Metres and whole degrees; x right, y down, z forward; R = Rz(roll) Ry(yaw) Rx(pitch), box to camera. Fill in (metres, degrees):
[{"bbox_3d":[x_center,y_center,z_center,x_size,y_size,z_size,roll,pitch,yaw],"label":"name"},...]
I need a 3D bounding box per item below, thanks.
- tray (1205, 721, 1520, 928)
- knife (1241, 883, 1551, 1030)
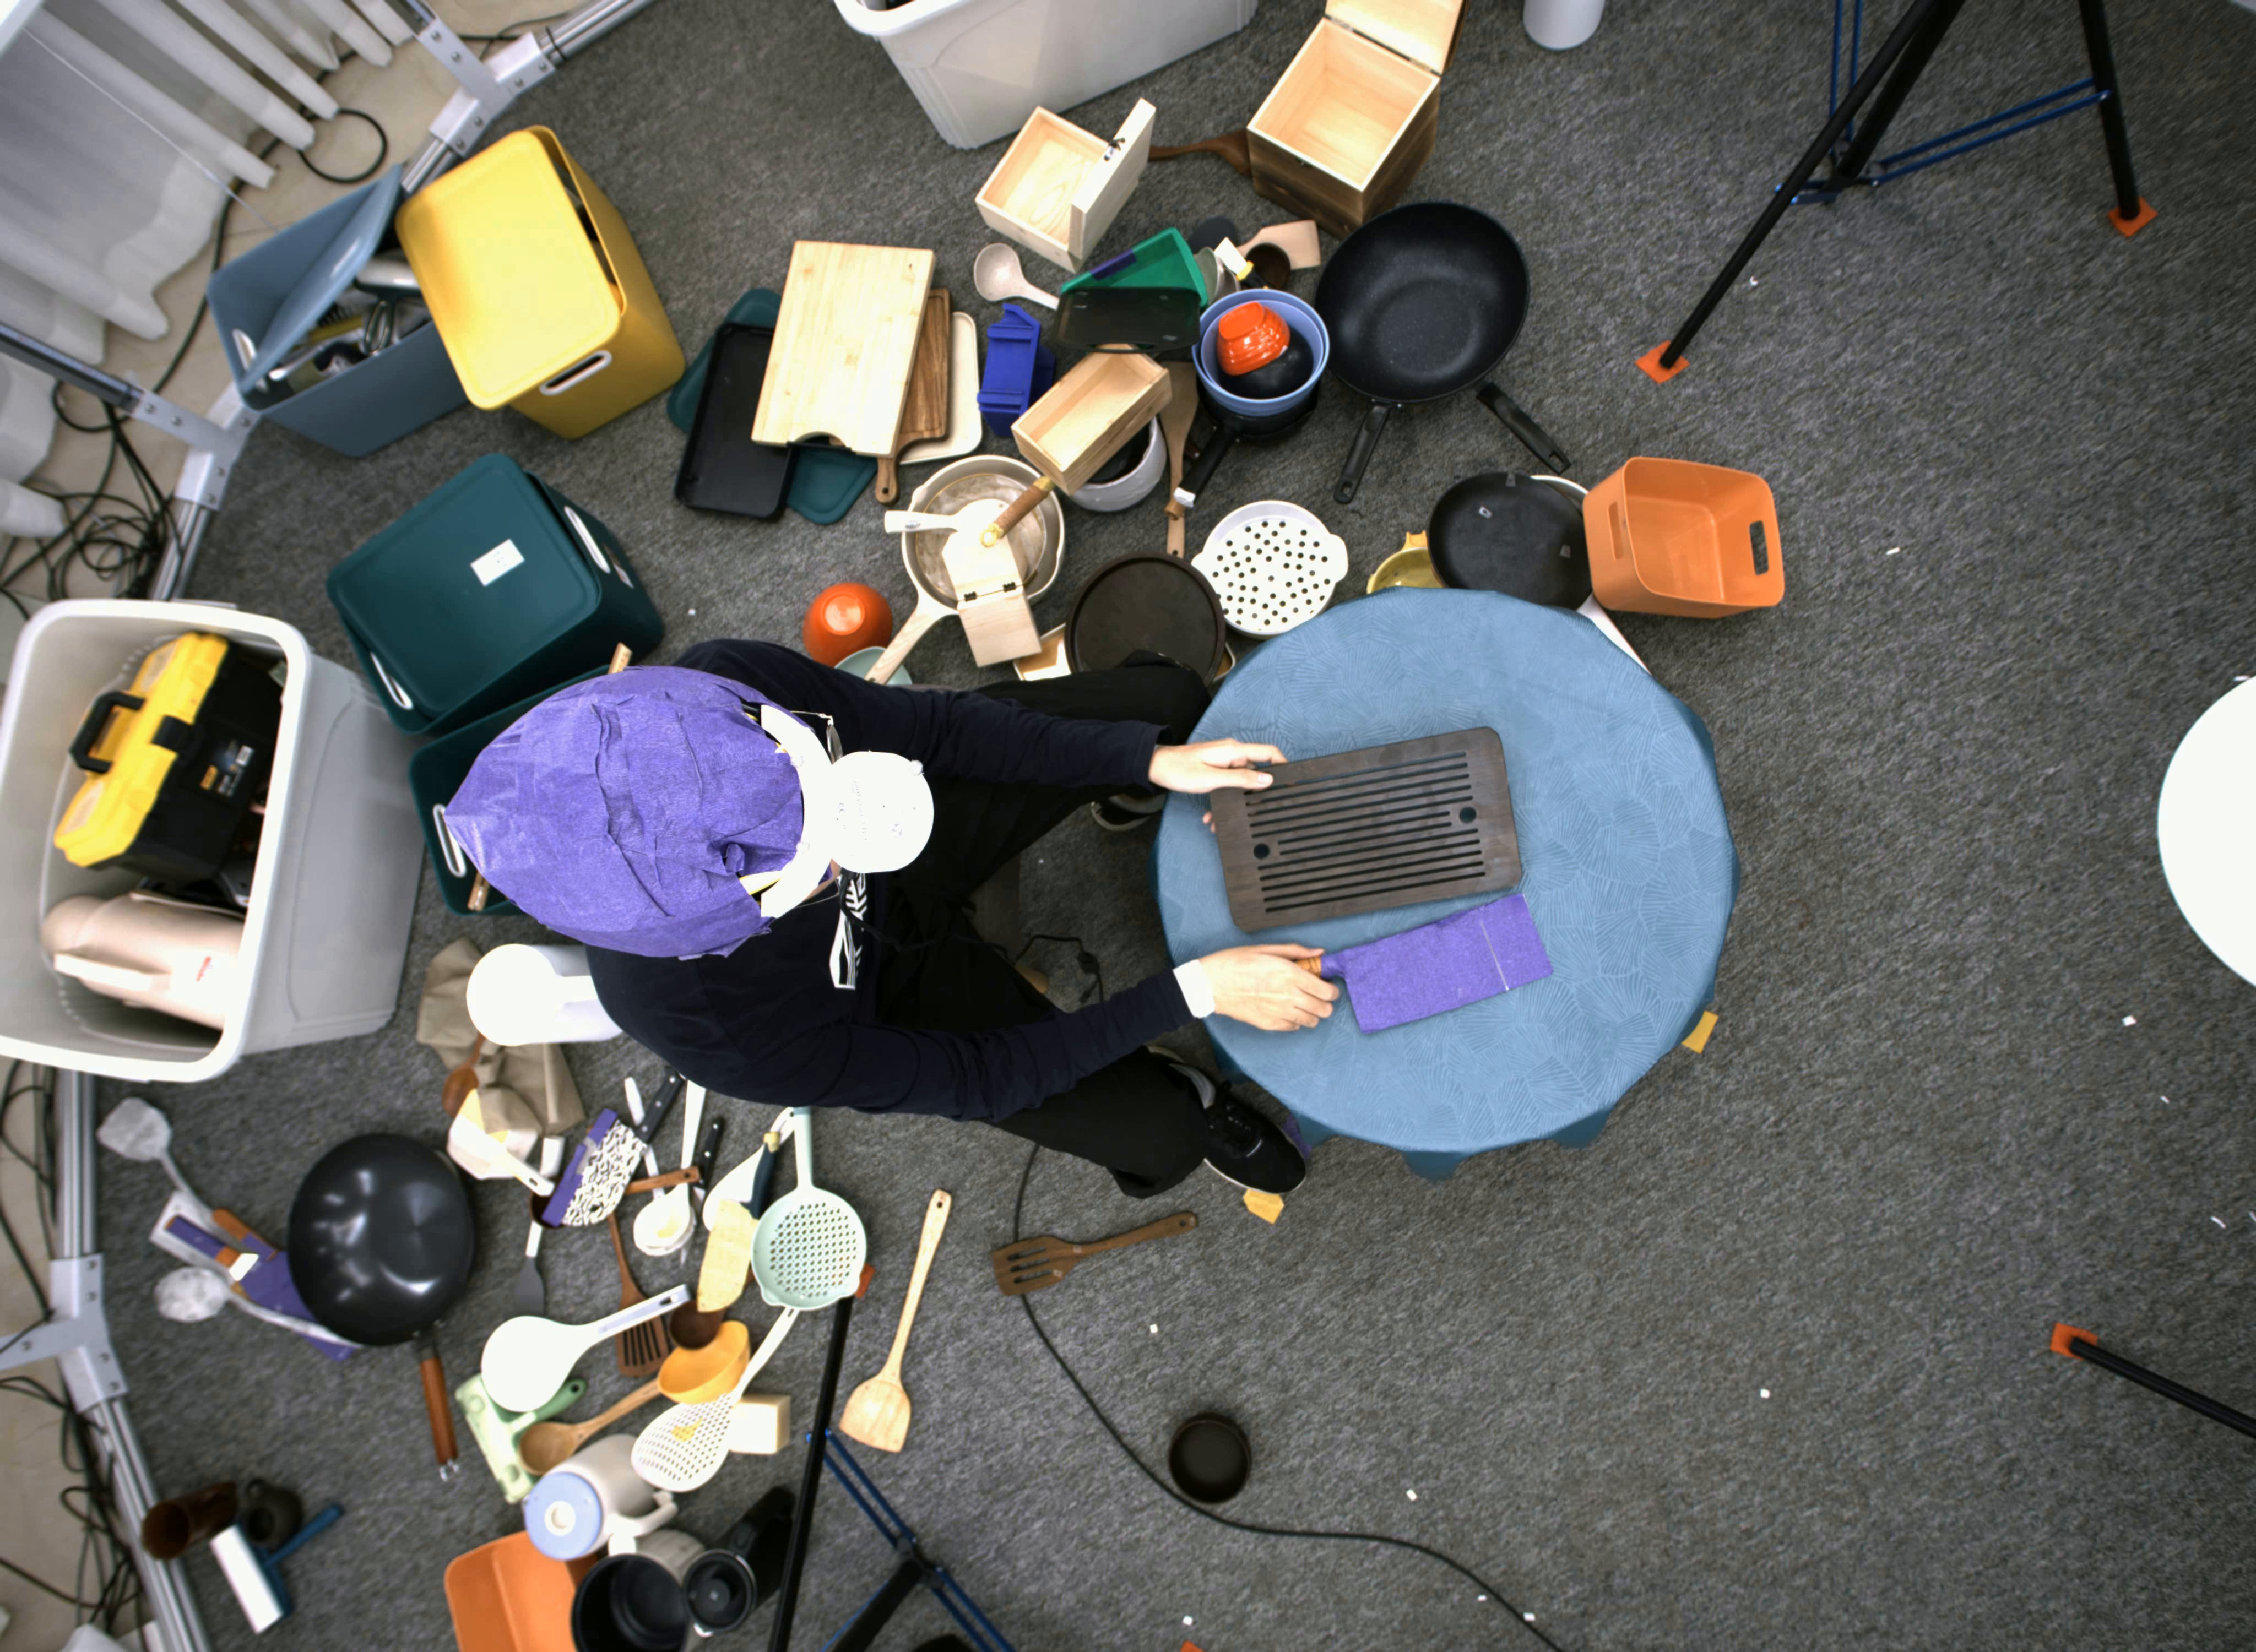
[{"bbox_3d":[0.244,-0.001,1.438,0.307,0.018,0.171,-11,101,10],"label":"tray"},{"bbox_3d":[0.279,0.155,1.439,0.317,0.032,0.103,-20,83,8],"label":"knife"}]
